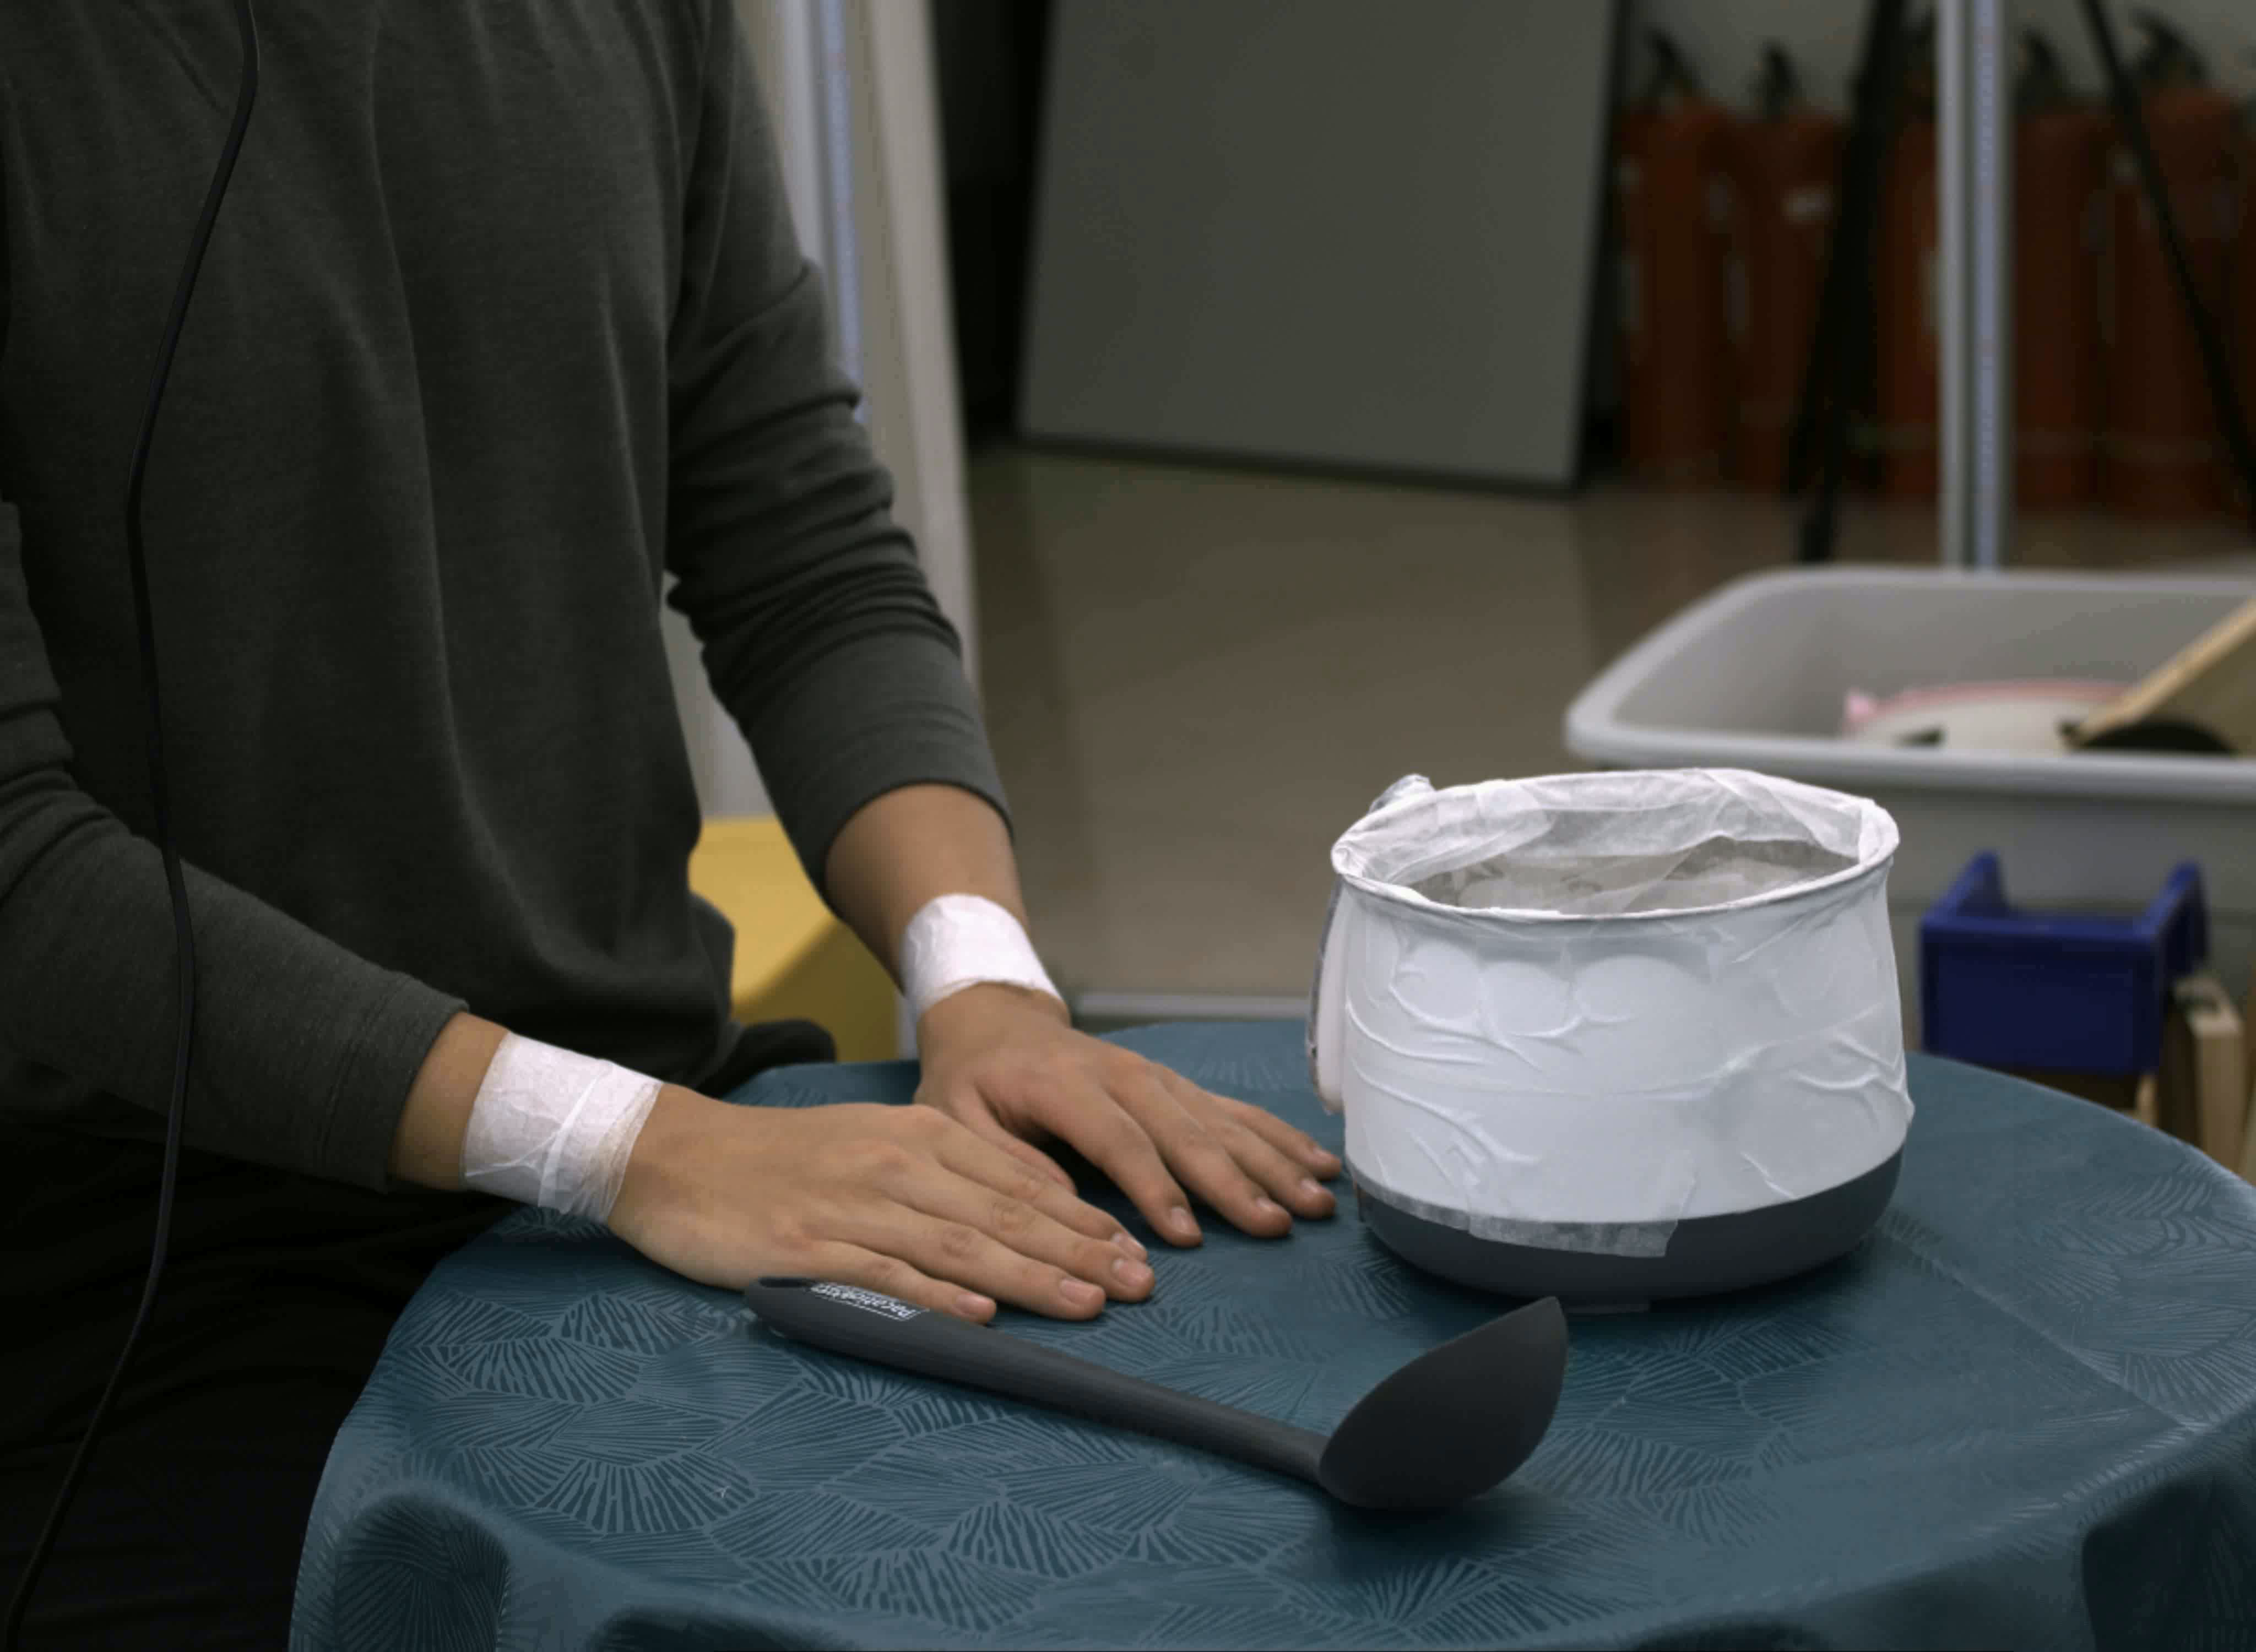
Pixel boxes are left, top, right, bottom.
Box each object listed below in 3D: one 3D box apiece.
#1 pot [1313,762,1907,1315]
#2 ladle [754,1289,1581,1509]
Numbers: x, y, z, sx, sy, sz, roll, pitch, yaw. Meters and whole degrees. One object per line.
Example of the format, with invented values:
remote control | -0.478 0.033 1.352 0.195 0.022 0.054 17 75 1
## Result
pot | 0.137 0.060 1.695 0.175 0.138 0.236 -13 16 -35
ladle | -0.002 0.143 1.551 0.084 0.065 0.317 -10 13 -44
